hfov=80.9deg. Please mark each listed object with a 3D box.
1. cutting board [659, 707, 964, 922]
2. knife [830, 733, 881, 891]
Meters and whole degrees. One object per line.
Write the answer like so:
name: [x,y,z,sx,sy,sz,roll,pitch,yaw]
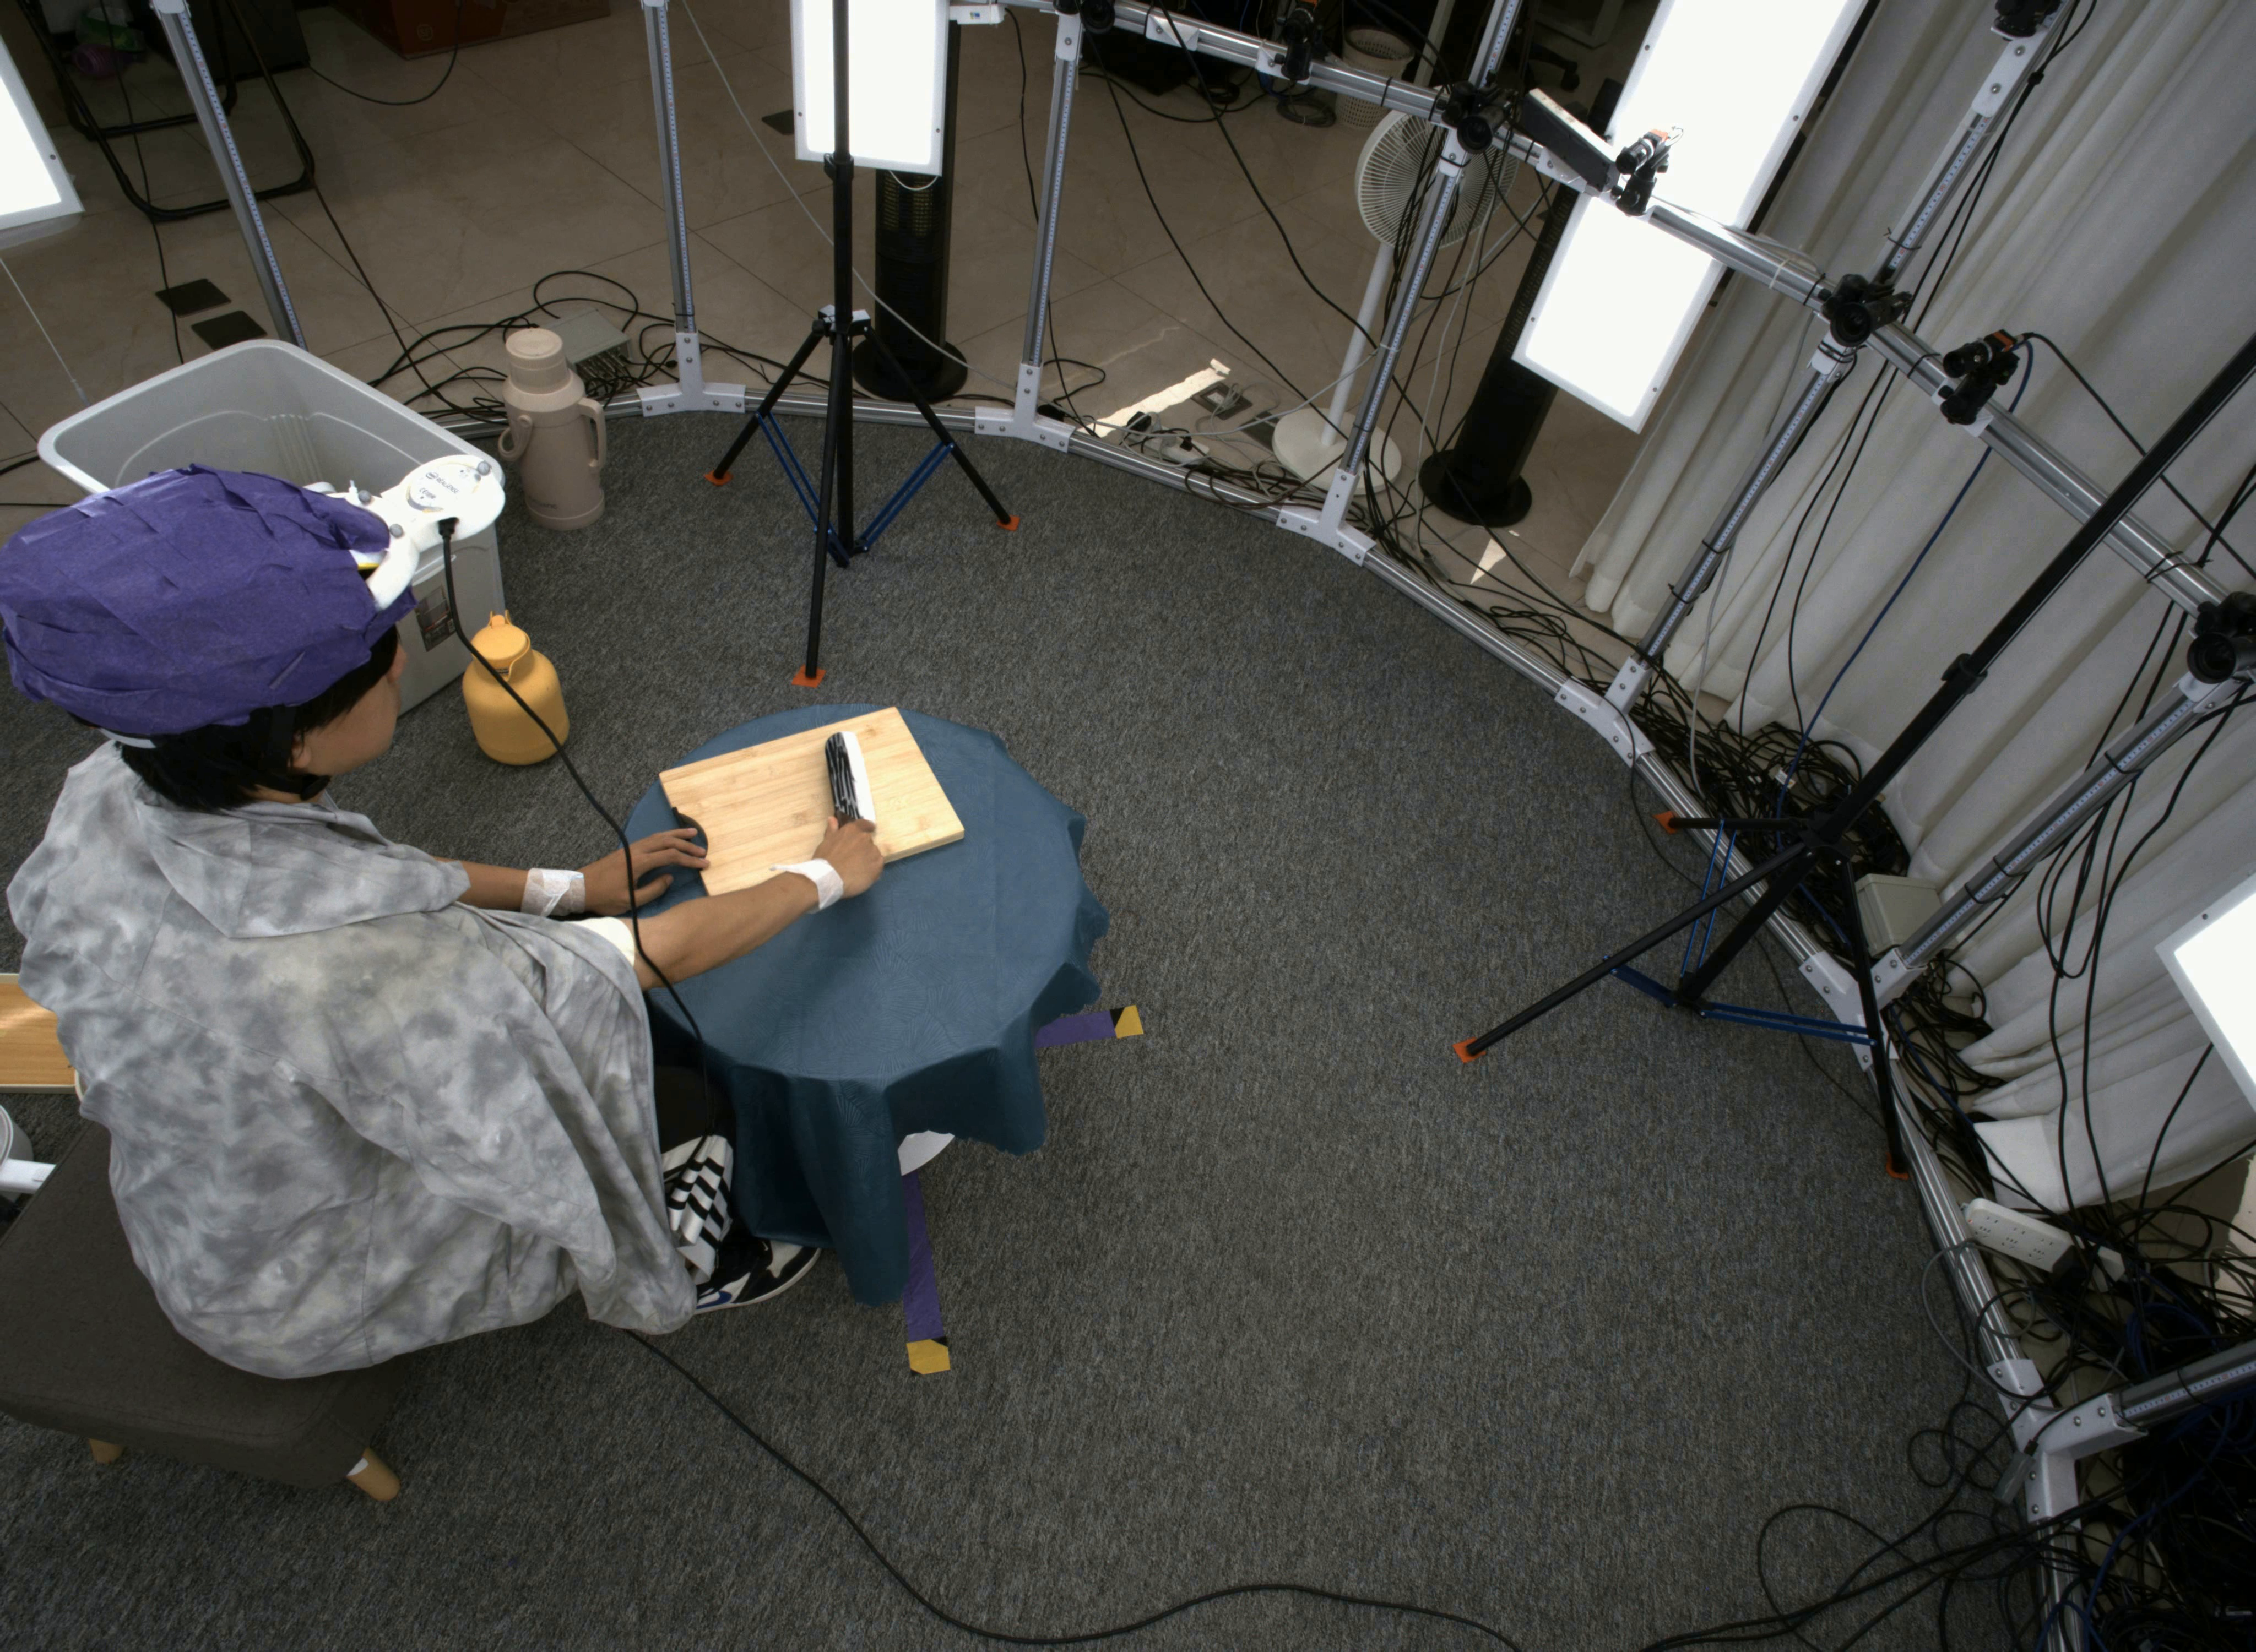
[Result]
cutting board: [-0.421,-0.025,1.735,0.350,0.024,0.244,-20,61,-26]
knife: [-0.354,-0.026,1.702,0.070,0.024,0.291,27,33,-42]
